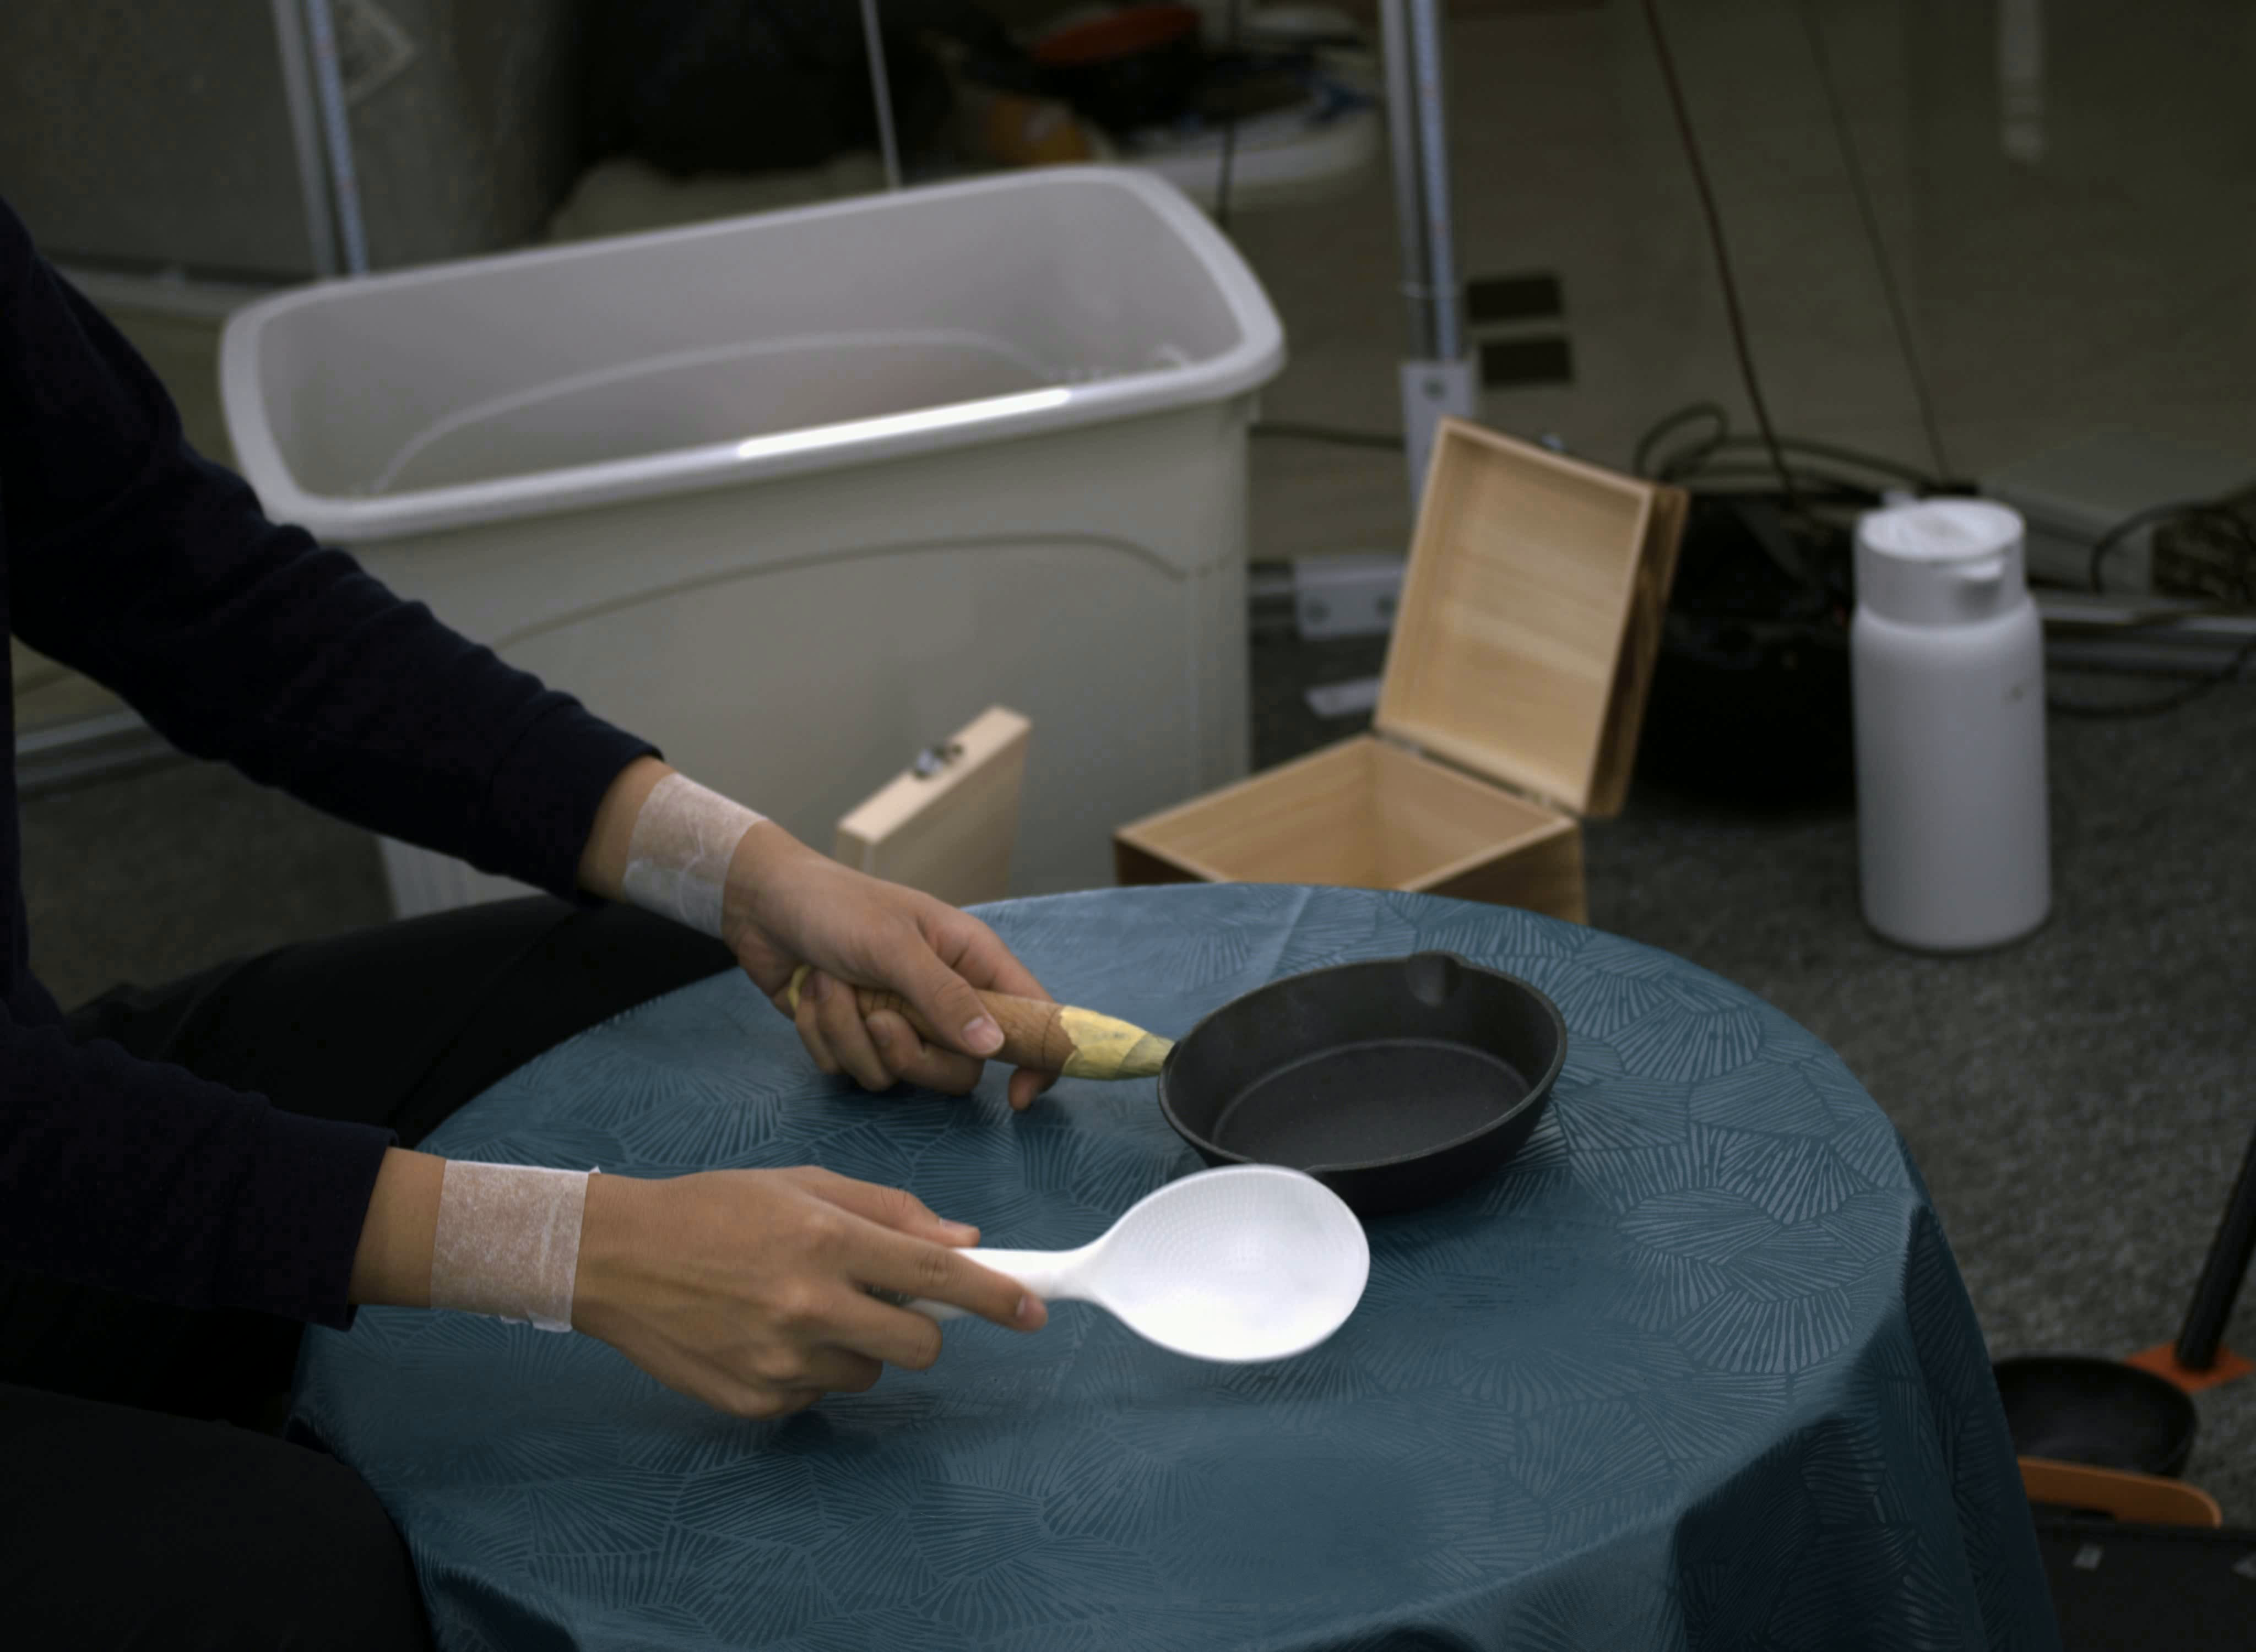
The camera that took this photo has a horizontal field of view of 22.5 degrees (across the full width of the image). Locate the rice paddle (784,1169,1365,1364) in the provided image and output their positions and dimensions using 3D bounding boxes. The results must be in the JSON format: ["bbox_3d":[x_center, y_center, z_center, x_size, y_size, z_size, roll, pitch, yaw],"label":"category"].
[{"bbox_3d":[-0.019,0.159,2.001,0.205,0.069,0.029,-4,1,5],"label":"rice paddle"}]

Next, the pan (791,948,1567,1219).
[{"bbox_3d":[0.015,0.088,2.189,0.323,0.050,0.166,6,32,27],"label":"pan"}]
